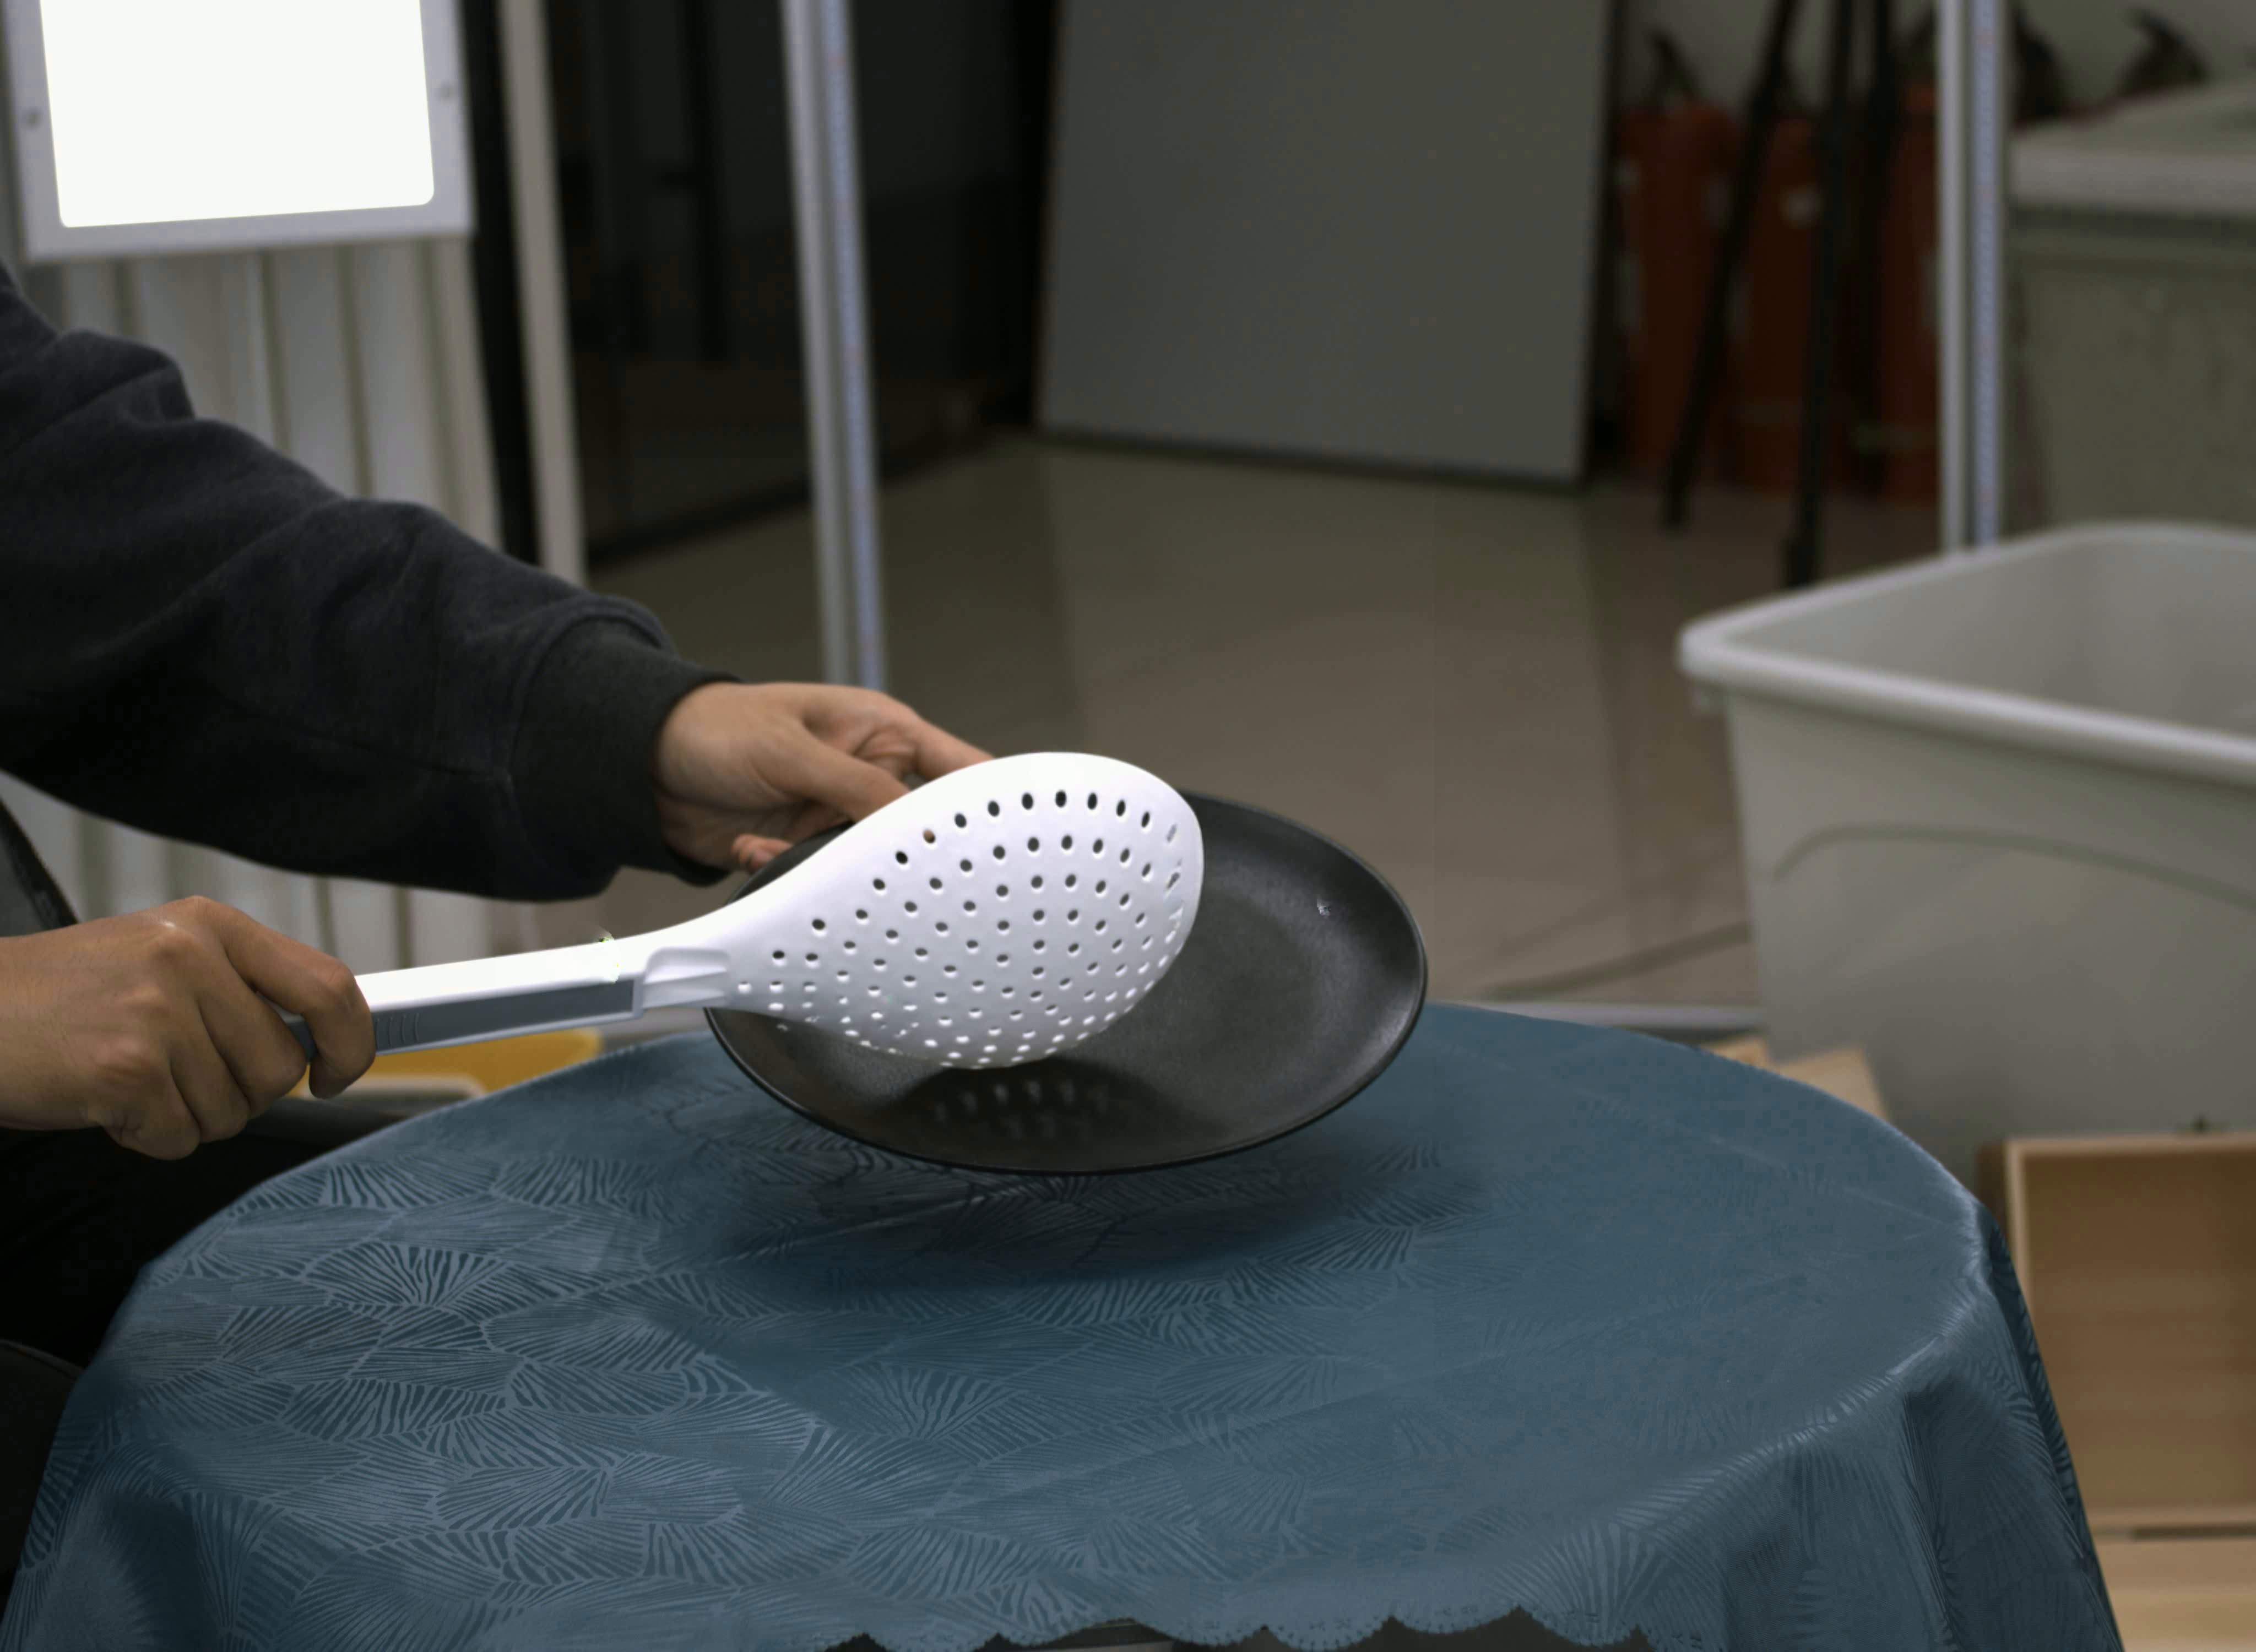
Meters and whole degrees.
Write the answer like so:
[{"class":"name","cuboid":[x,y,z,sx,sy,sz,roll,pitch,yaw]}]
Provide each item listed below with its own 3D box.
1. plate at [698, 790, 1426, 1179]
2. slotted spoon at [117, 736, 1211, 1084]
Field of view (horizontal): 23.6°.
[{"class":"plate","cuboid":[-0.021,0.056,1.784,0.241,0.023,0.245,-1,30,0]},{"class":"slotted spoon","cuboid":[-0.138,0.043,1.676,0.343,0.137,0.046,-4,42,-11]}]
